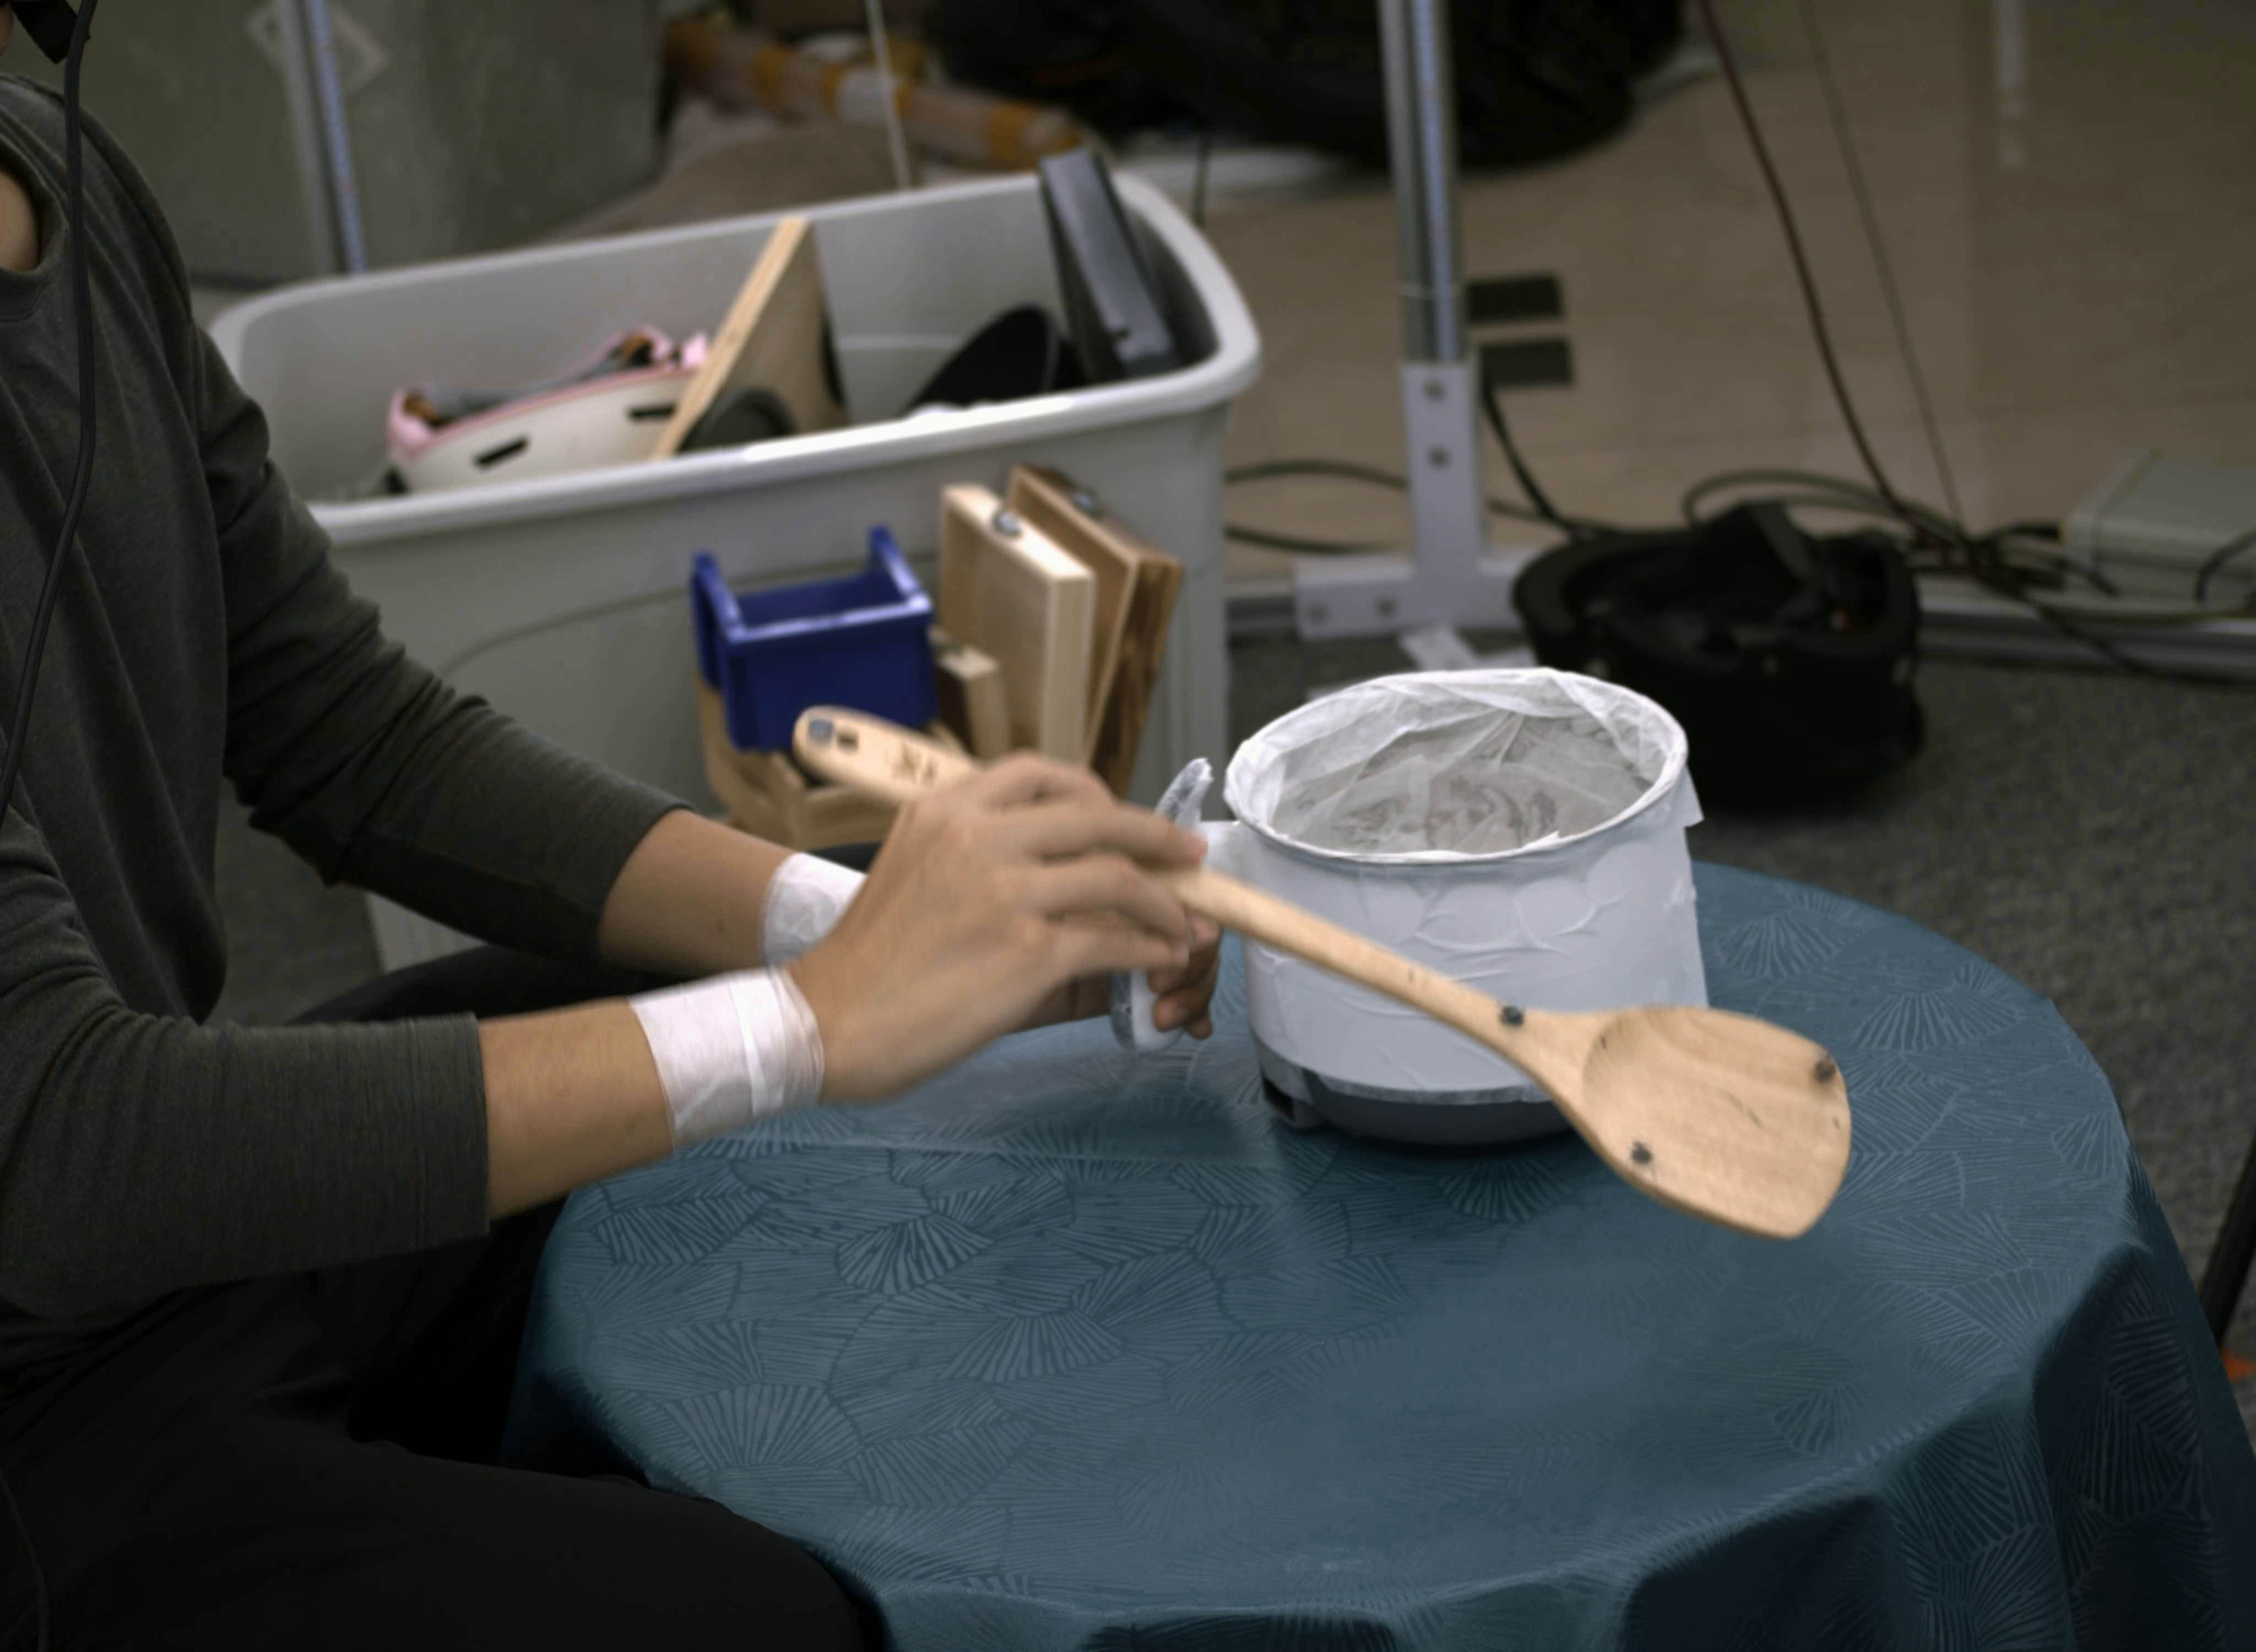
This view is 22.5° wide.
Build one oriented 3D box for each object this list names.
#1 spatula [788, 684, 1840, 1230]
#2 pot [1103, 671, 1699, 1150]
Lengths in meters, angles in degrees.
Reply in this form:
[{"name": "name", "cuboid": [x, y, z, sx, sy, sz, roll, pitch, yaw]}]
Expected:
[{"name": "spatula", "cuboid": [0.063, 0.037, 1.938, 0.391, 0.019, 0.094, 24, 46, -4]}, {"name": "pot", "cuboid": [0.102, 0.035, 2.187, 0.233, 0.139, 0.176, -3, 26, 9]}]
